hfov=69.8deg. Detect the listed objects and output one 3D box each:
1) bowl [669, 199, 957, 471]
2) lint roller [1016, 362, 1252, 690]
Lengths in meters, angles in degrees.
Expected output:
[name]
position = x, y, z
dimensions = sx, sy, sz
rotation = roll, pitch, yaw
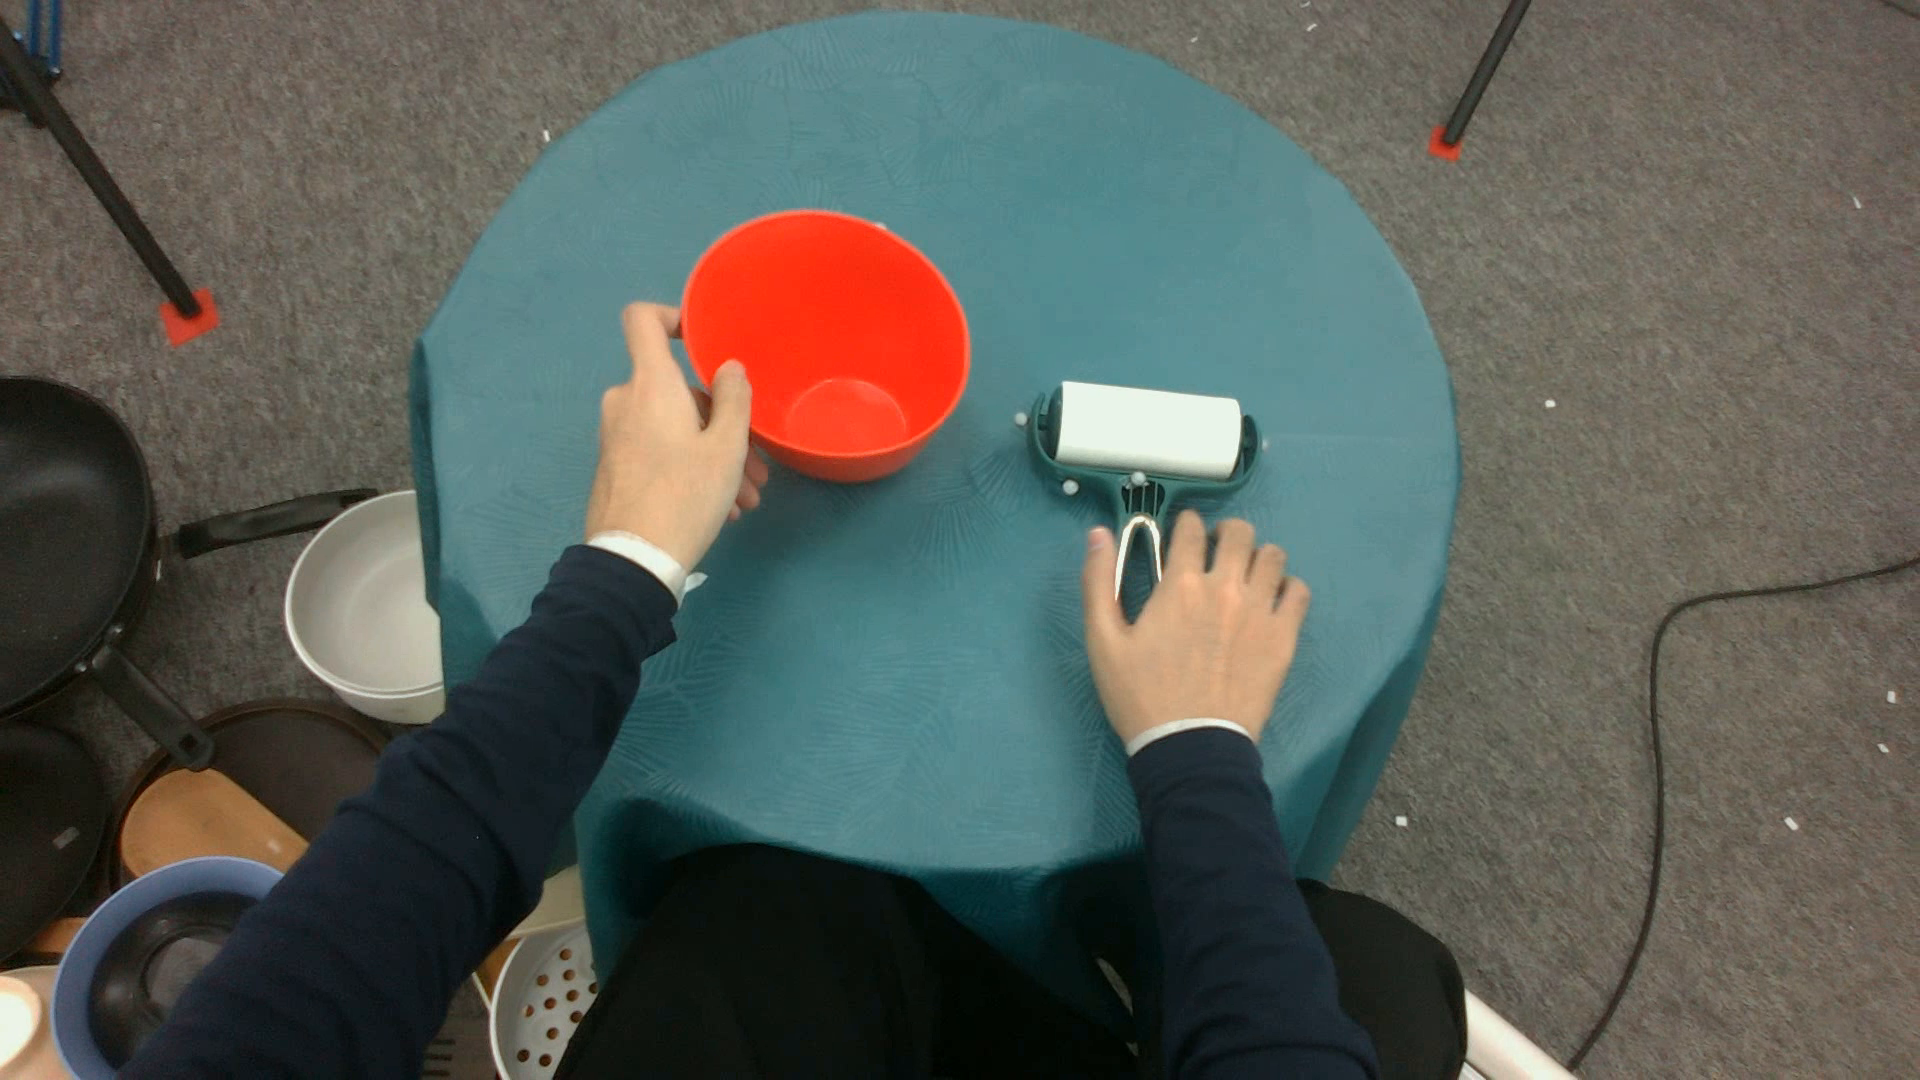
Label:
[bowl]
position = -0.077, -0.096, 0.743
dimensions = 0.148, 0.104, 0.148
rotation = 2, 64, -5
[lint roller]
position = 0.093, -0.011, 0.749
dimensions = 0.134, 0.048, 0.181
rotation = 6, 66, -4
